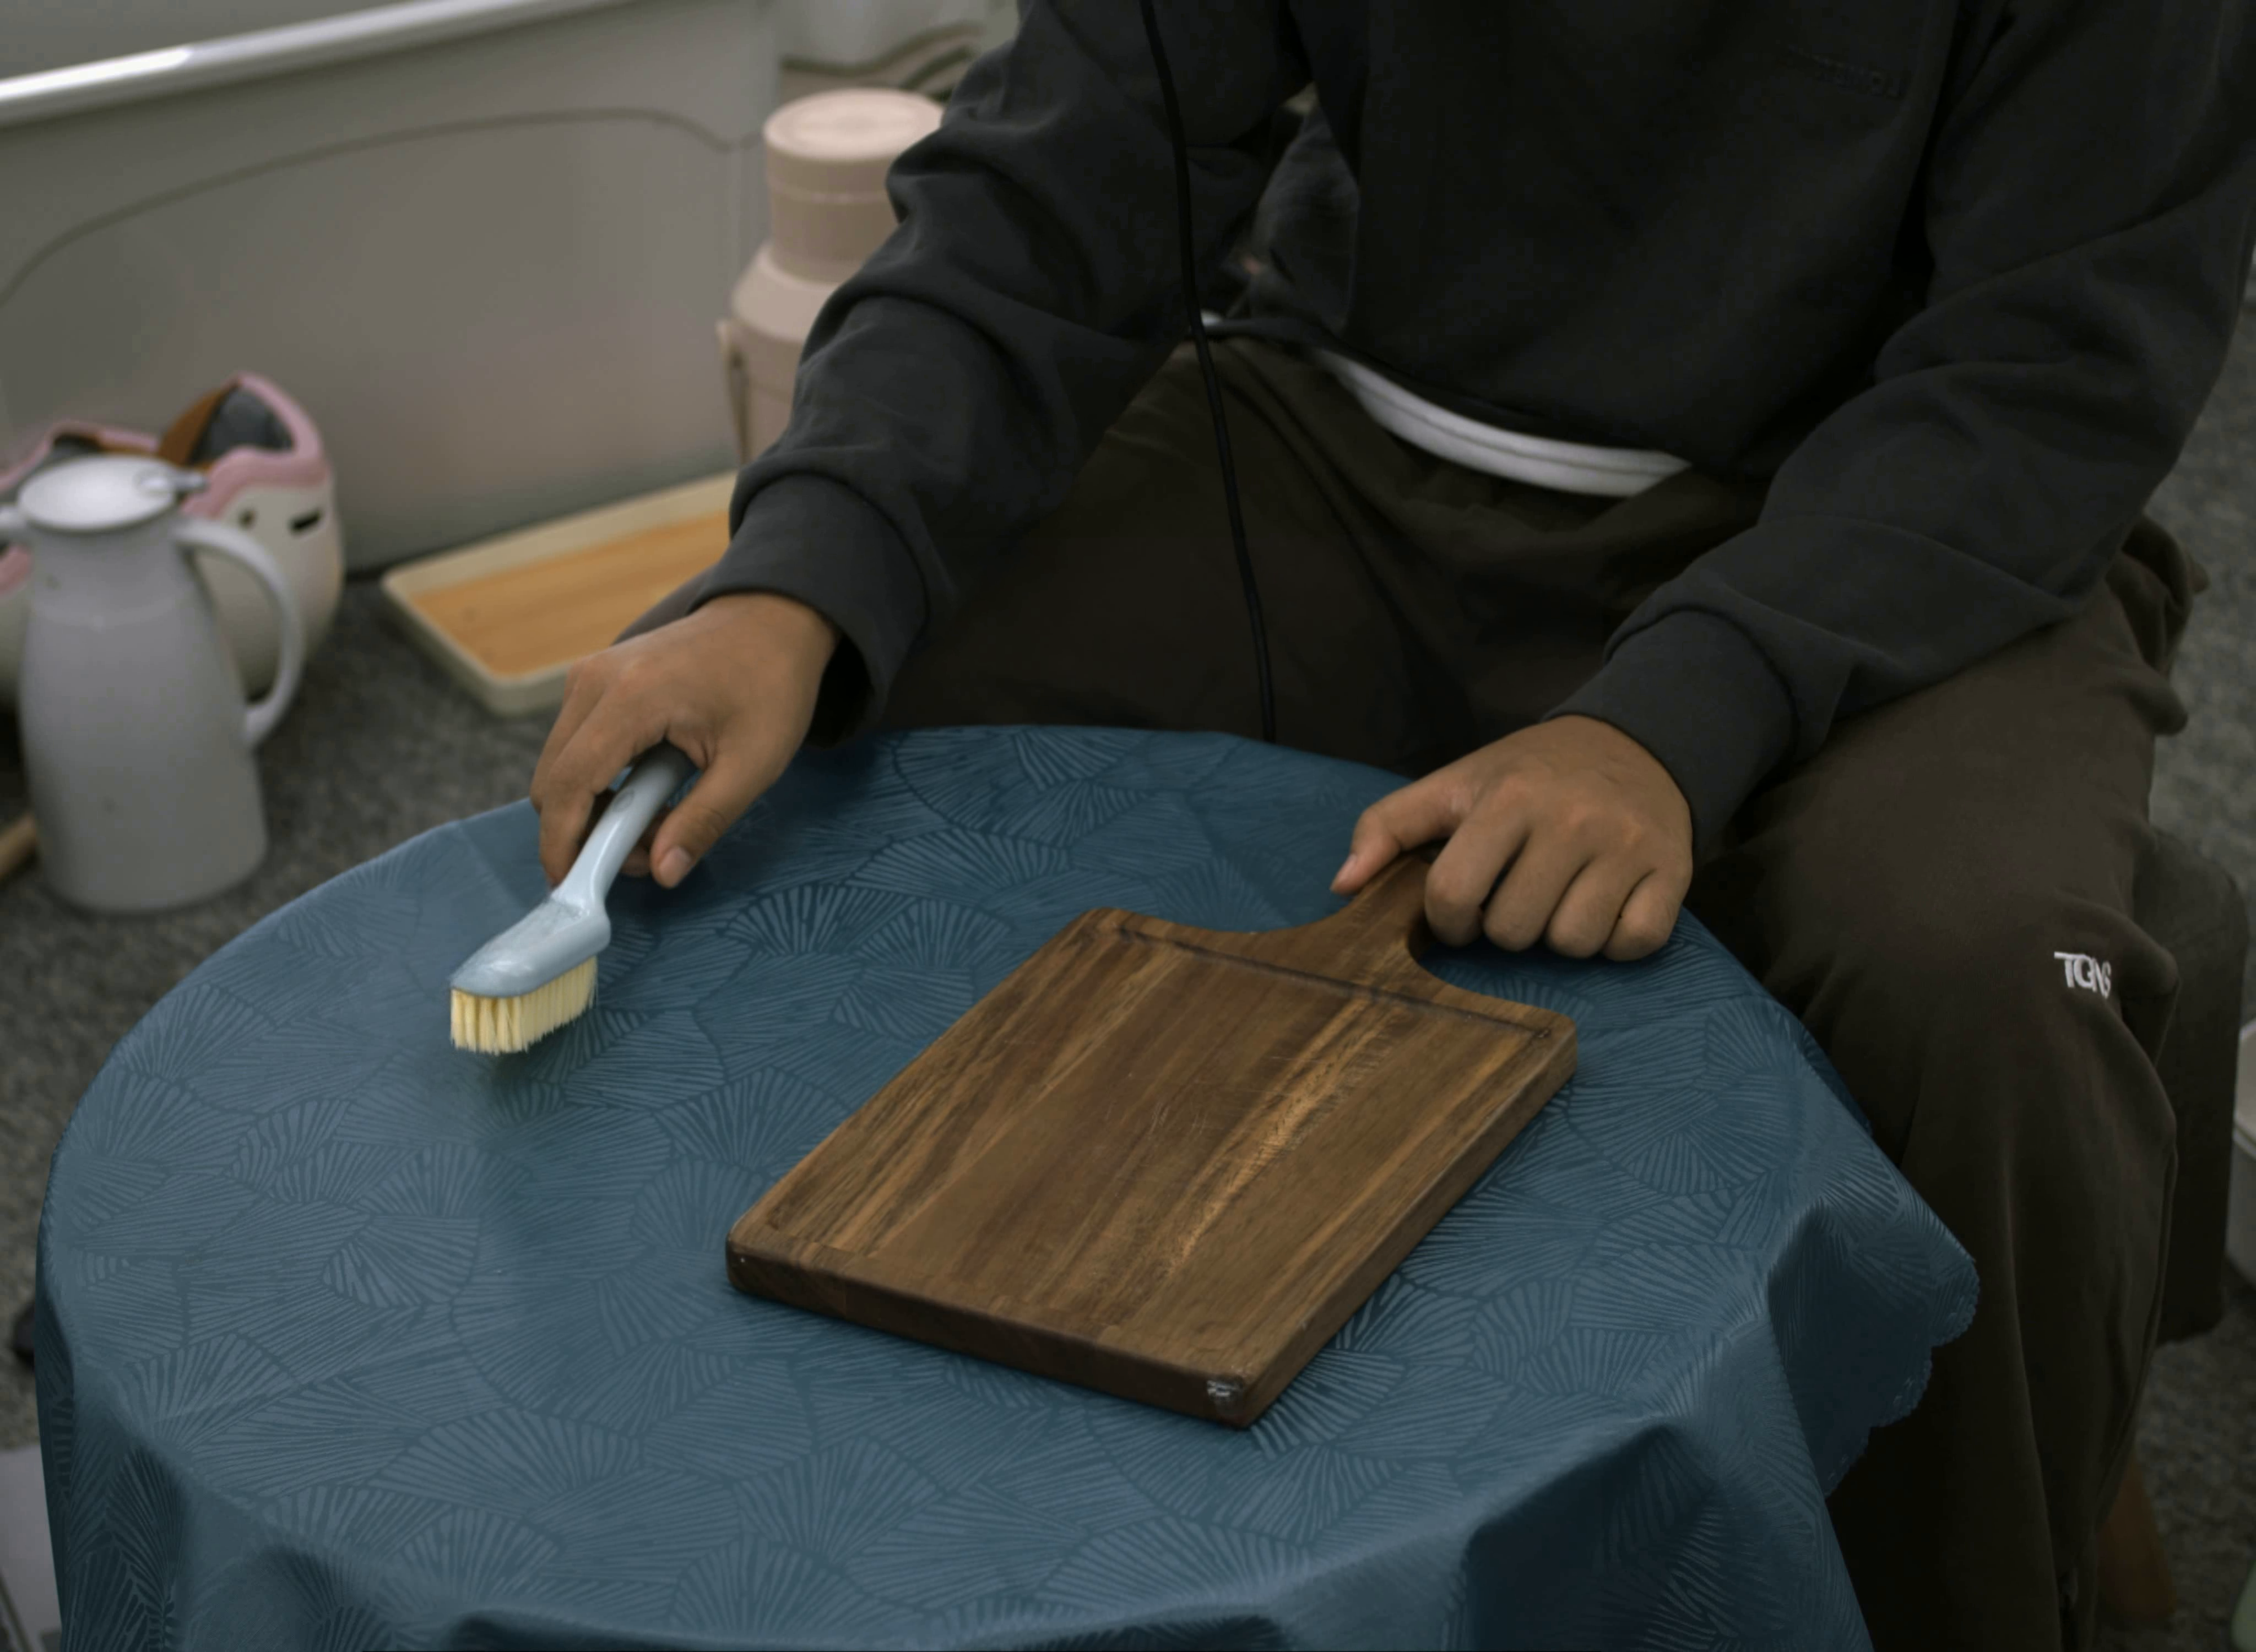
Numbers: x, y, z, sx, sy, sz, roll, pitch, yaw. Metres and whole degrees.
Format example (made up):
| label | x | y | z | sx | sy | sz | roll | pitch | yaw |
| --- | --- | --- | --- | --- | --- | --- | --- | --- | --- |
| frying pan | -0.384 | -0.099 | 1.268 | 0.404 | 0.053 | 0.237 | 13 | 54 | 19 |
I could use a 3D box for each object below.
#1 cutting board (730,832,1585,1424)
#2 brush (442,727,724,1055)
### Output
| label | x | y | z | sx | sy | sz | roll | pitch | yaw |
| --- | --- | --- | --- | --- | --- | --- | --- | --- | --- |
| cutting board | 0.038 | 0.086 | 1.907 | 0.200 | 0.023 | 0.358 | 13 | 31 | 26 |
| brush | -0.192 | 0.022 | 2.025 | 0.037 | 0.049 | 0.232 | 5 | 27 | 14 |
